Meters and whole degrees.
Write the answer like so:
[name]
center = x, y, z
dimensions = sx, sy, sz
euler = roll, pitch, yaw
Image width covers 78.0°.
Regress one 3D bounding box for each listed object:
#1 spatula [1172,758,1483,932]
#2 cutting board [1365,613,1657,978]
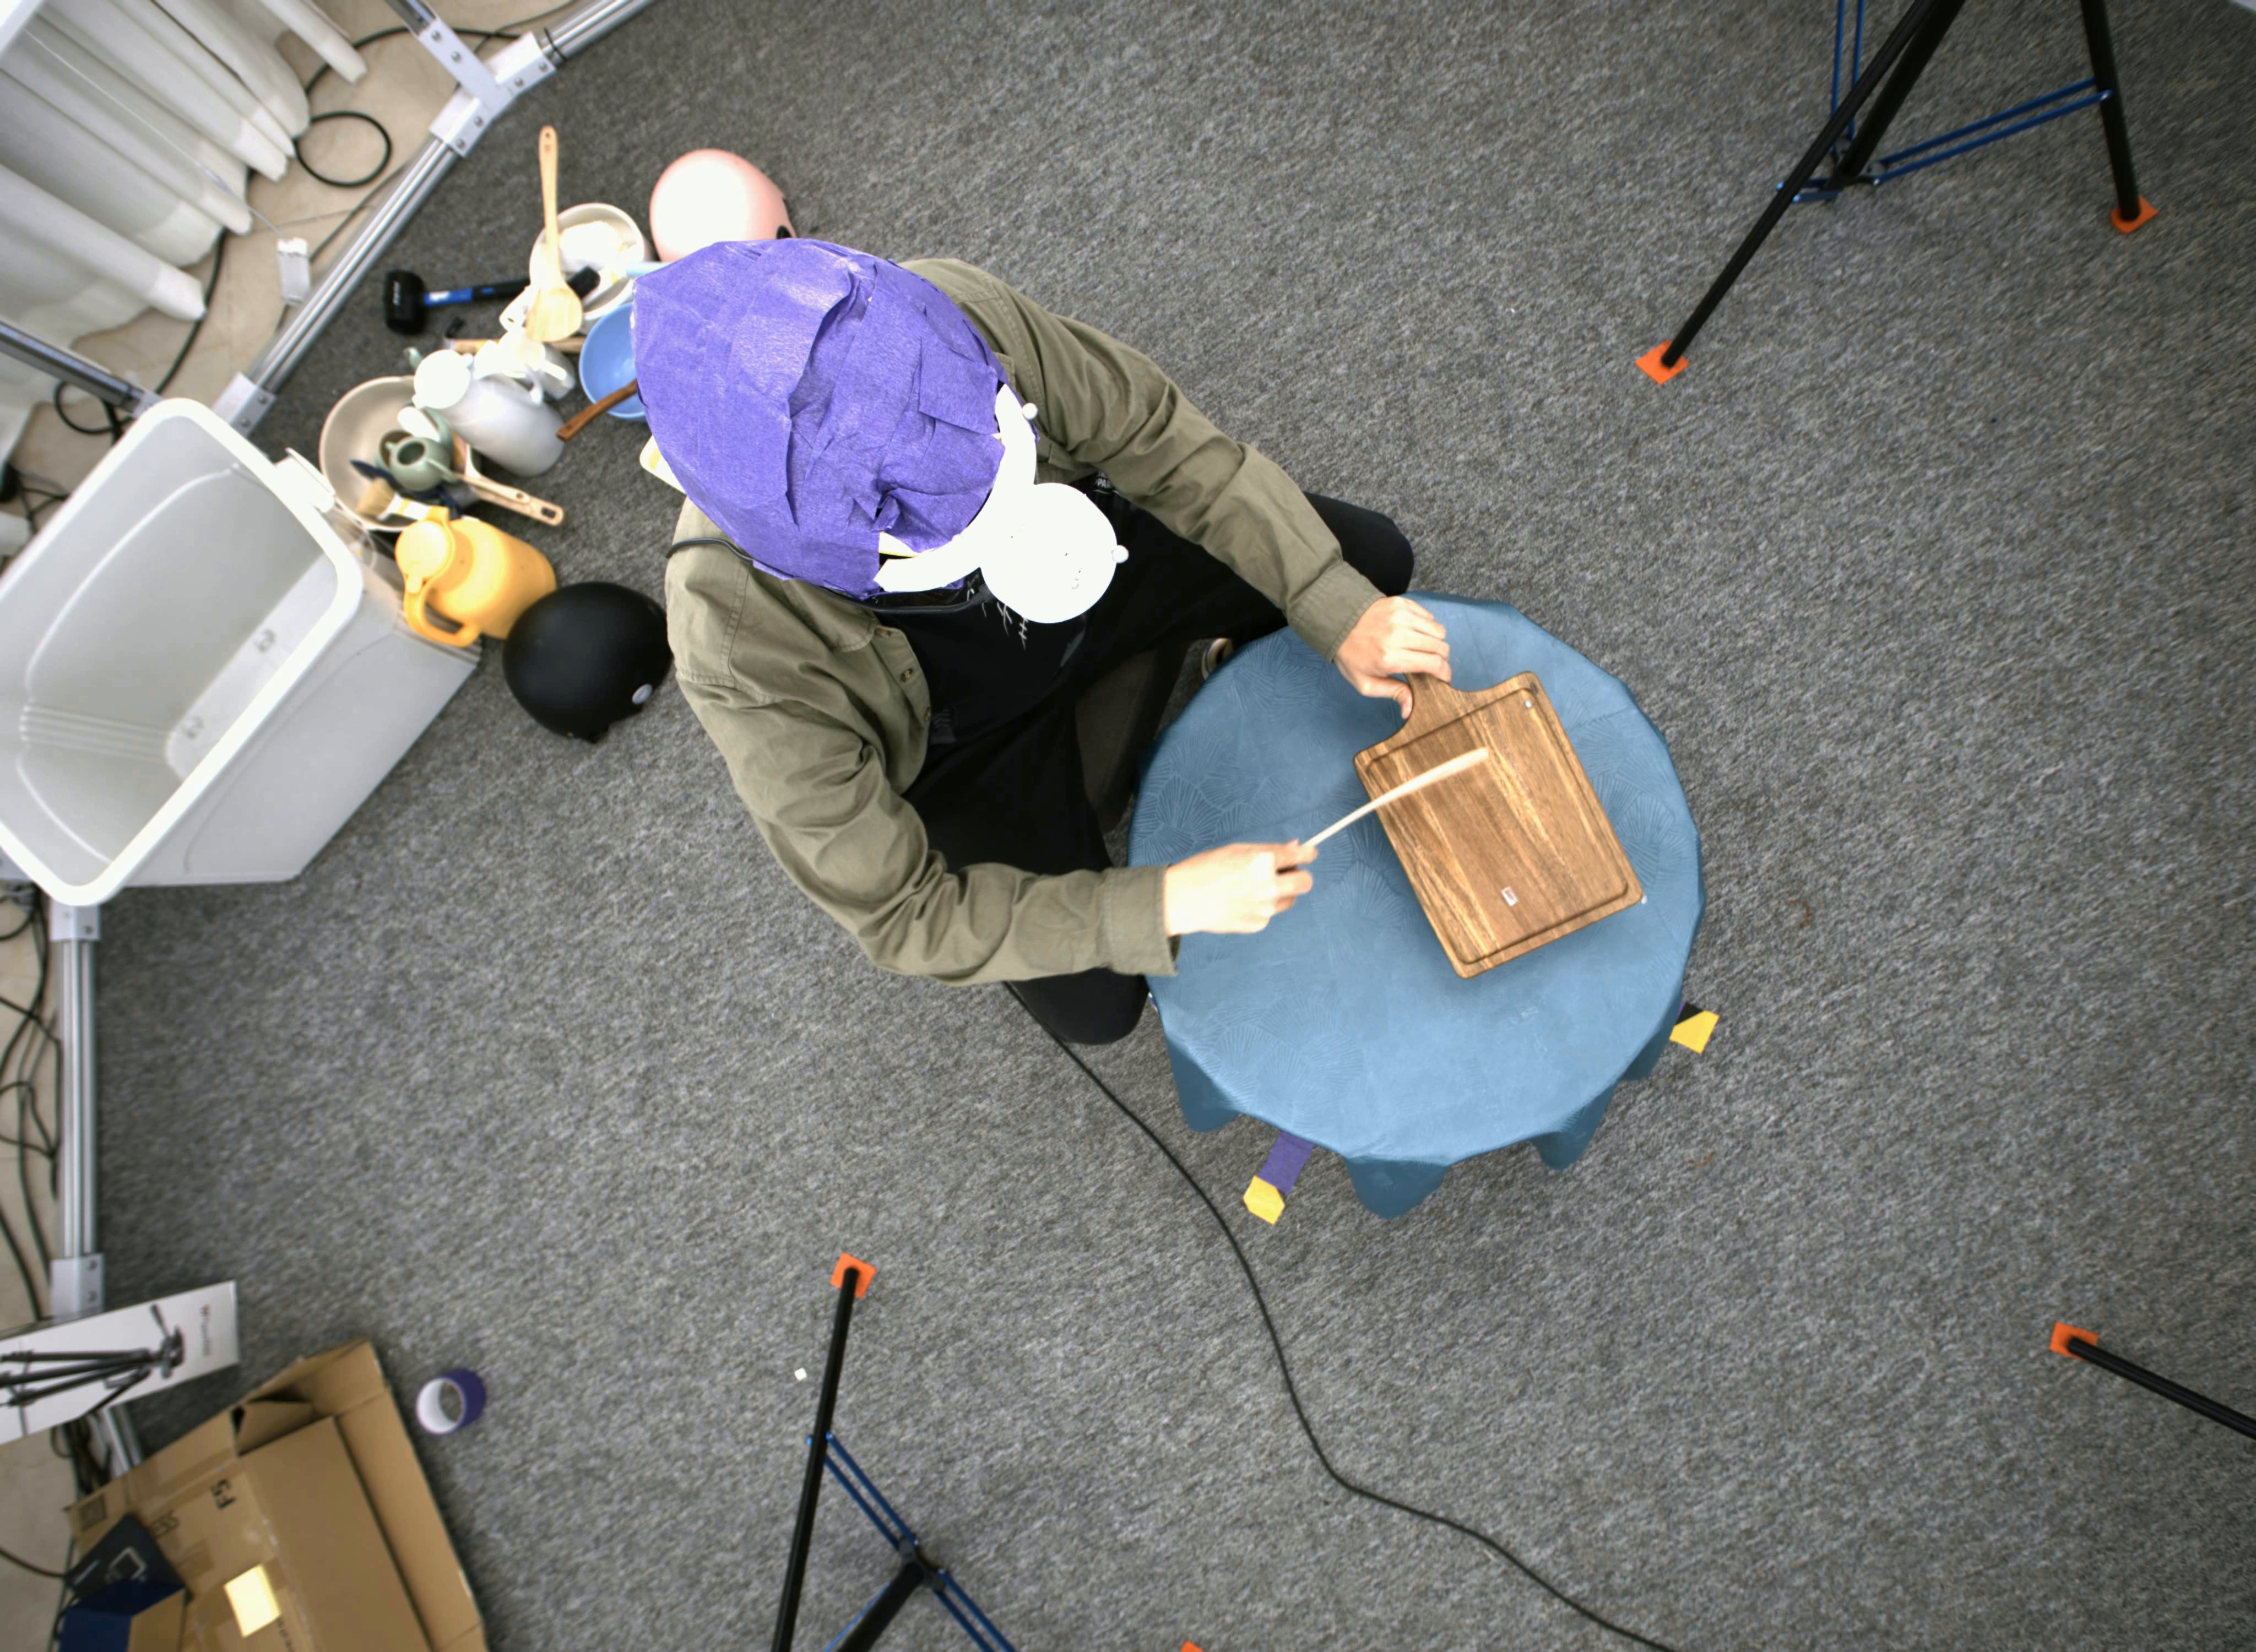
[spatula]
center = 0.184, 0.015, 1.254
dimensions = 0.327, 0.080, 0.016
euler = -30, 83, -1
[cutting board]
center = 0.350, -0.048, 1.335
dimensions = 0.203, 0.023, 0.352
euler = -25, 92, 14
